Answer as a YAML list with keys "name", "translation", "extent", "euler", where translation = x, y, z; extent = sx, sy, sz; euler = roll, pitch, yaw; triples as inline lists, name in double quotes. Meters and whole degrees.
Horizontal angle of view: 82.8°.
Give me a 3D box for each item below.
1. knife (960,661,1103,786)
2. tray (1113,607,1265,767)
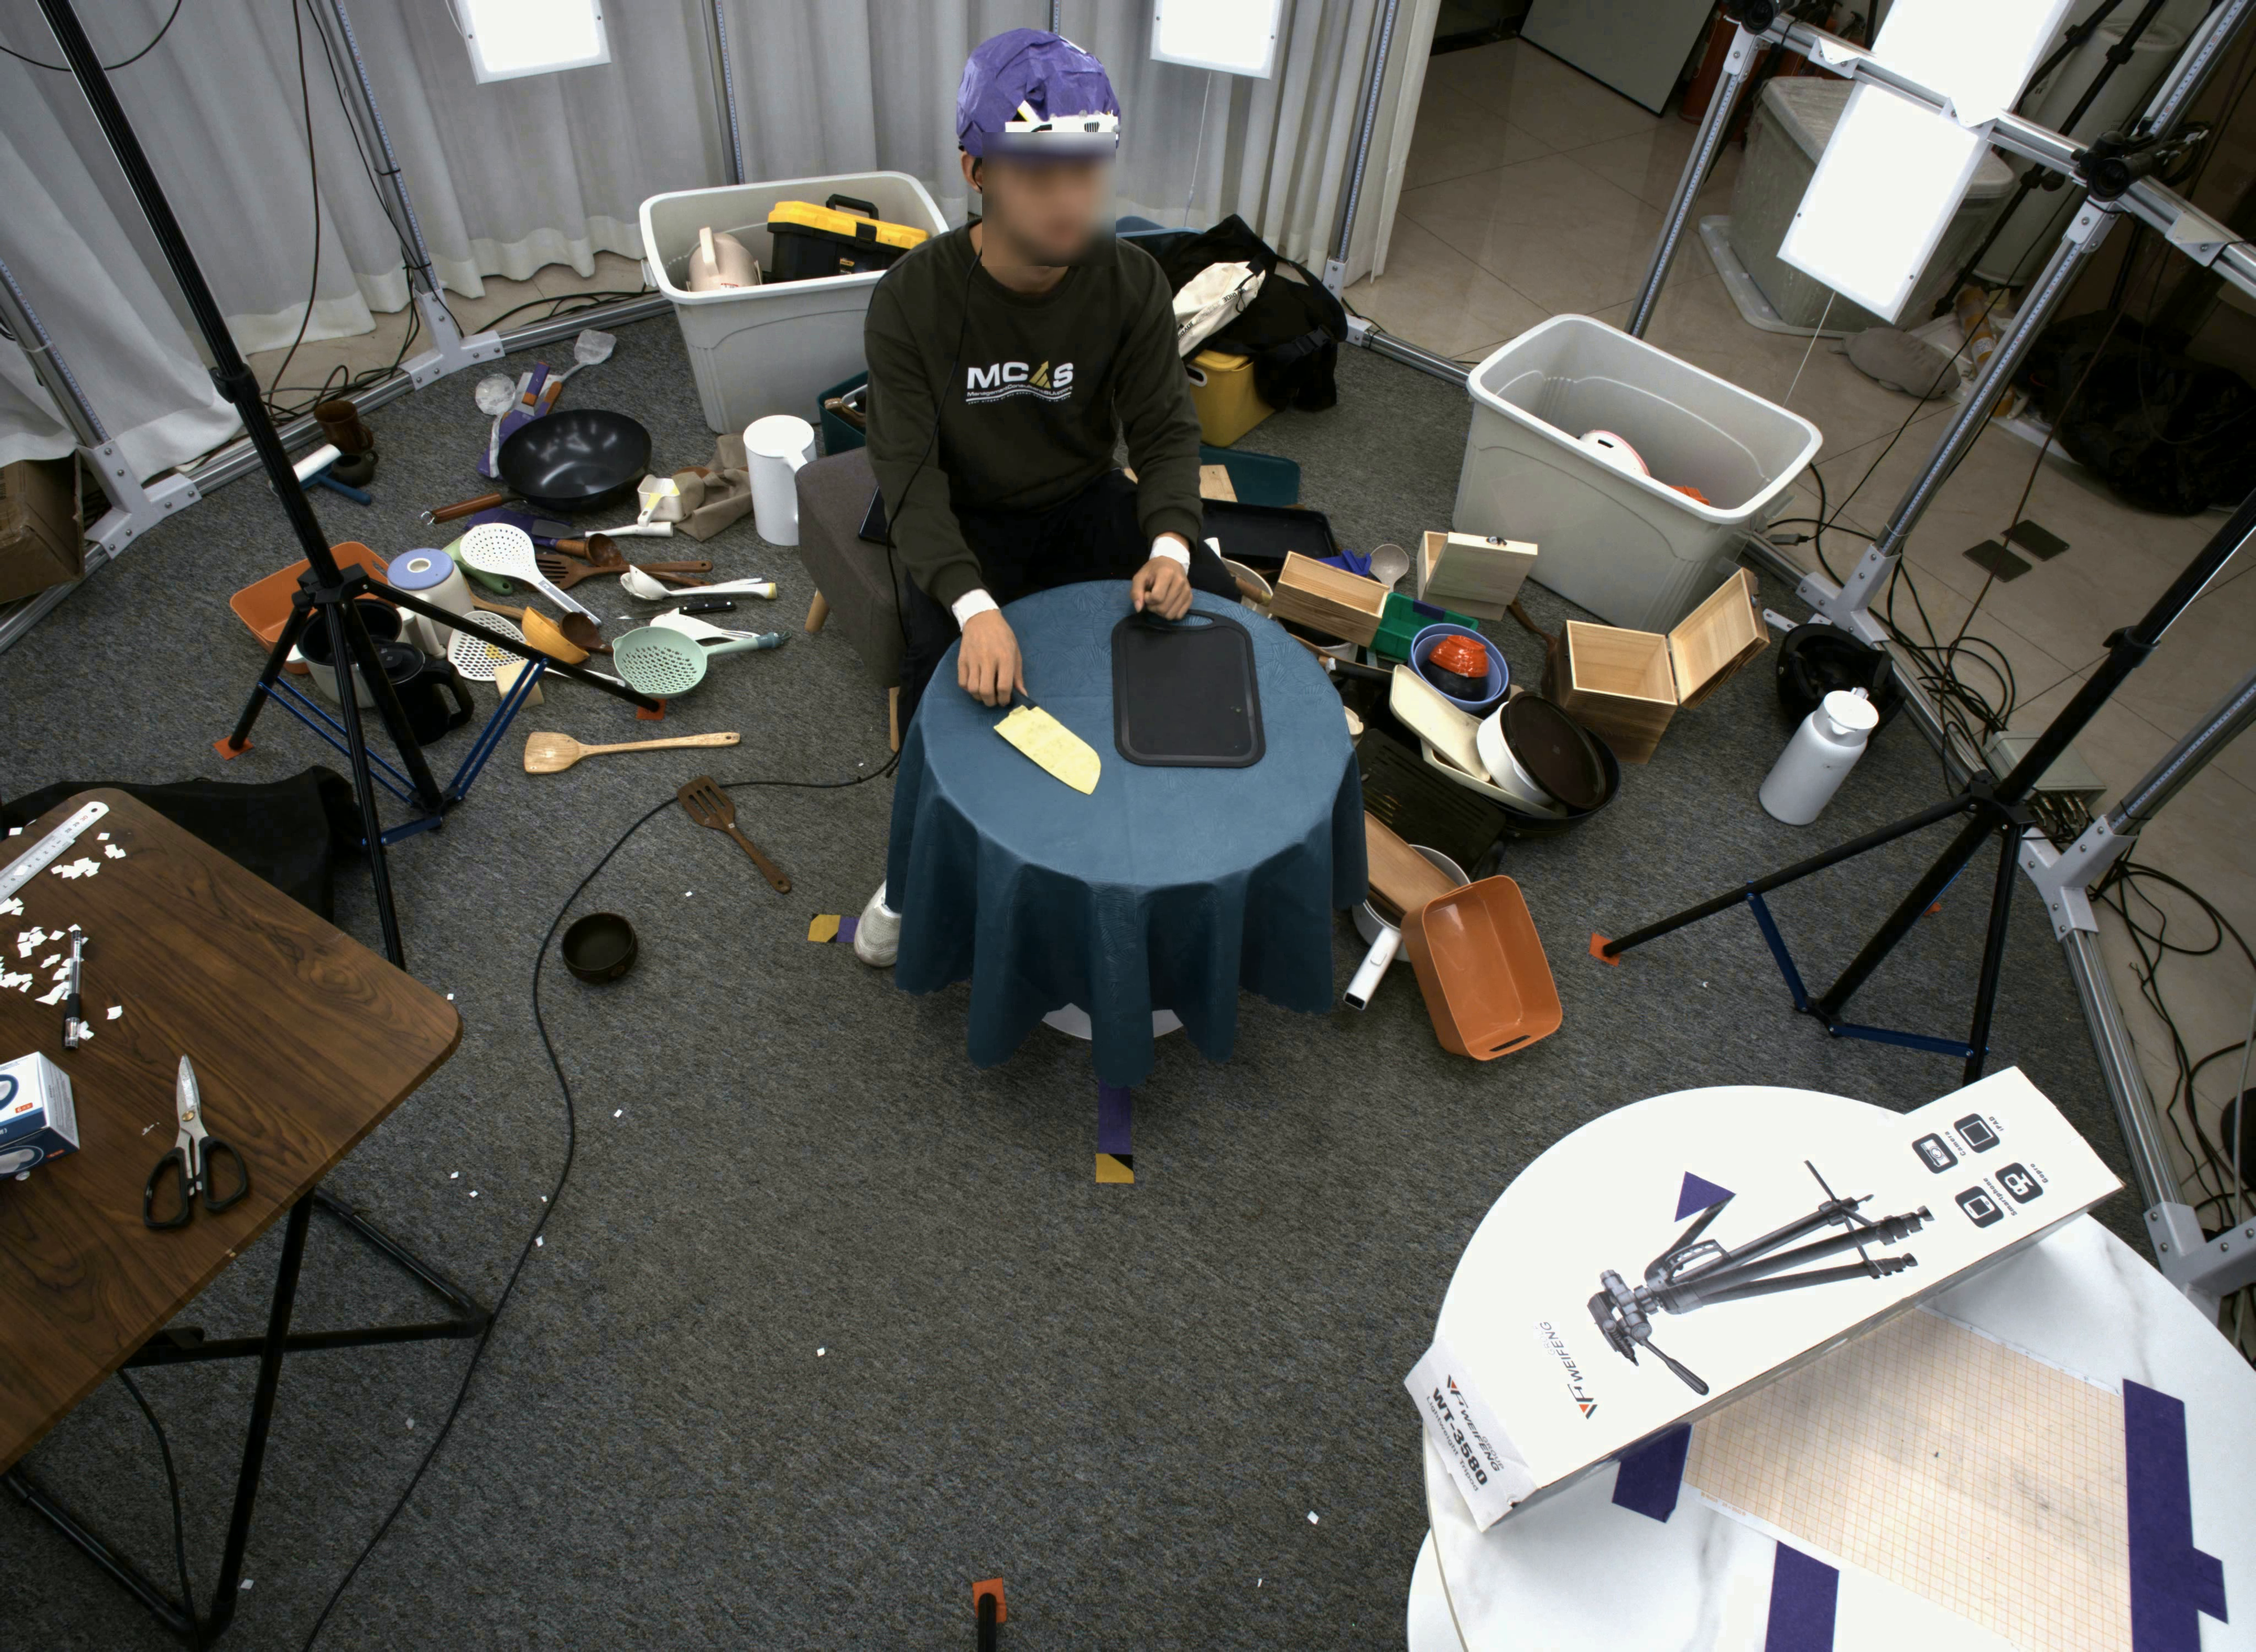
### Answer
- name: "knife"
  translation: [-0.142, -0.141, 1.771]
  extent: [0.082, 0.026, 0.294]
  euler: [-34, 60, -29]
- name: "tray"
  translation: [0.083, -0.209, 1.849]
  extent: [0.211, 0.009, 0.333]
  euler: [1, 49, -3]
